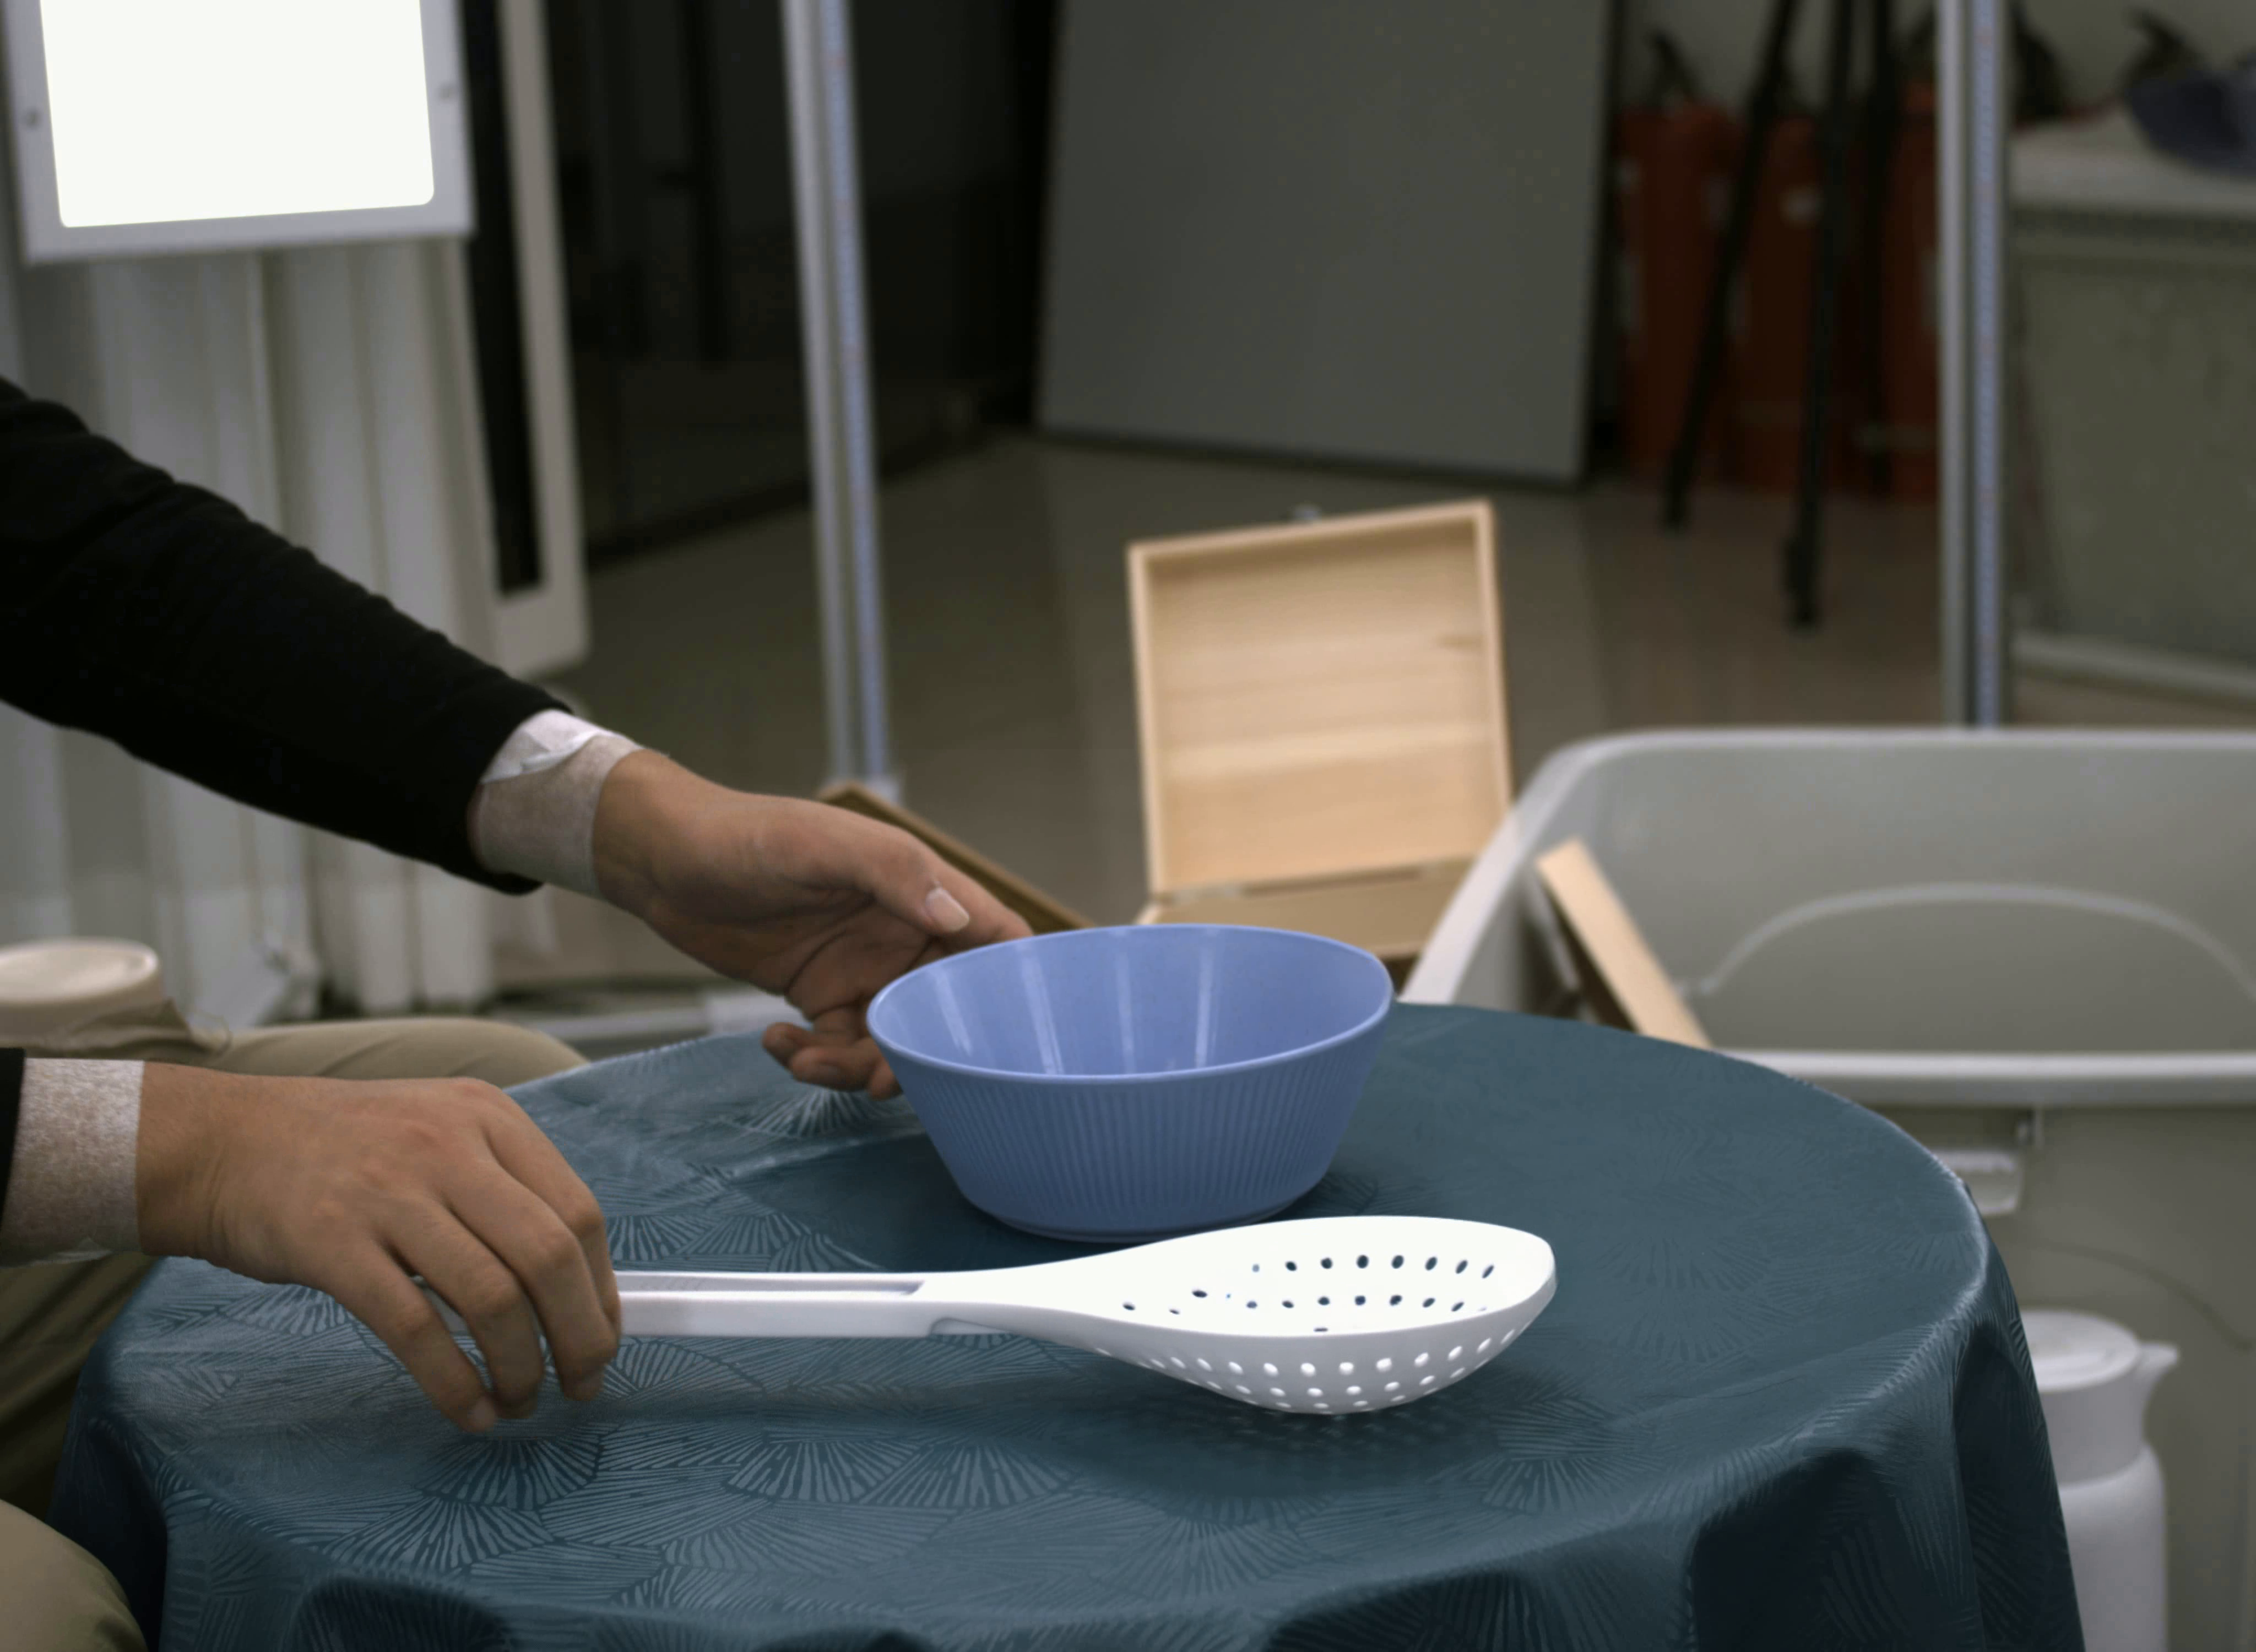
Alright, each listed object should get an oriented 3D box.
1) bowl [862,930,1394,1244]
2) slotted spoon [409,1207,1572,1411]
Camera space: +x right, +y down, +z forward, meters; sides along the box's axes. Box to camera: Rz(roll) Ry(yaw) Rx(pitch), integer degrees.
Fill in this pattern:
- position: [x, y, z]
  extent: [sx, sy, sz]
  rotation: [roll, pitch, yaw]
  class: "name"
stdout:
- position: [0.003, 0.087, 1.761]
  extent: [0.174, 0.071, 0.176]
  rotation: [-5, 14, 0]
  class: "bowl"
- position: [-0.043, 0.140, 1.578]
  extent: [0.347, 0.046, 0.135]
  rotation: [2, 11, 12]
  class: "slotted spoon"
